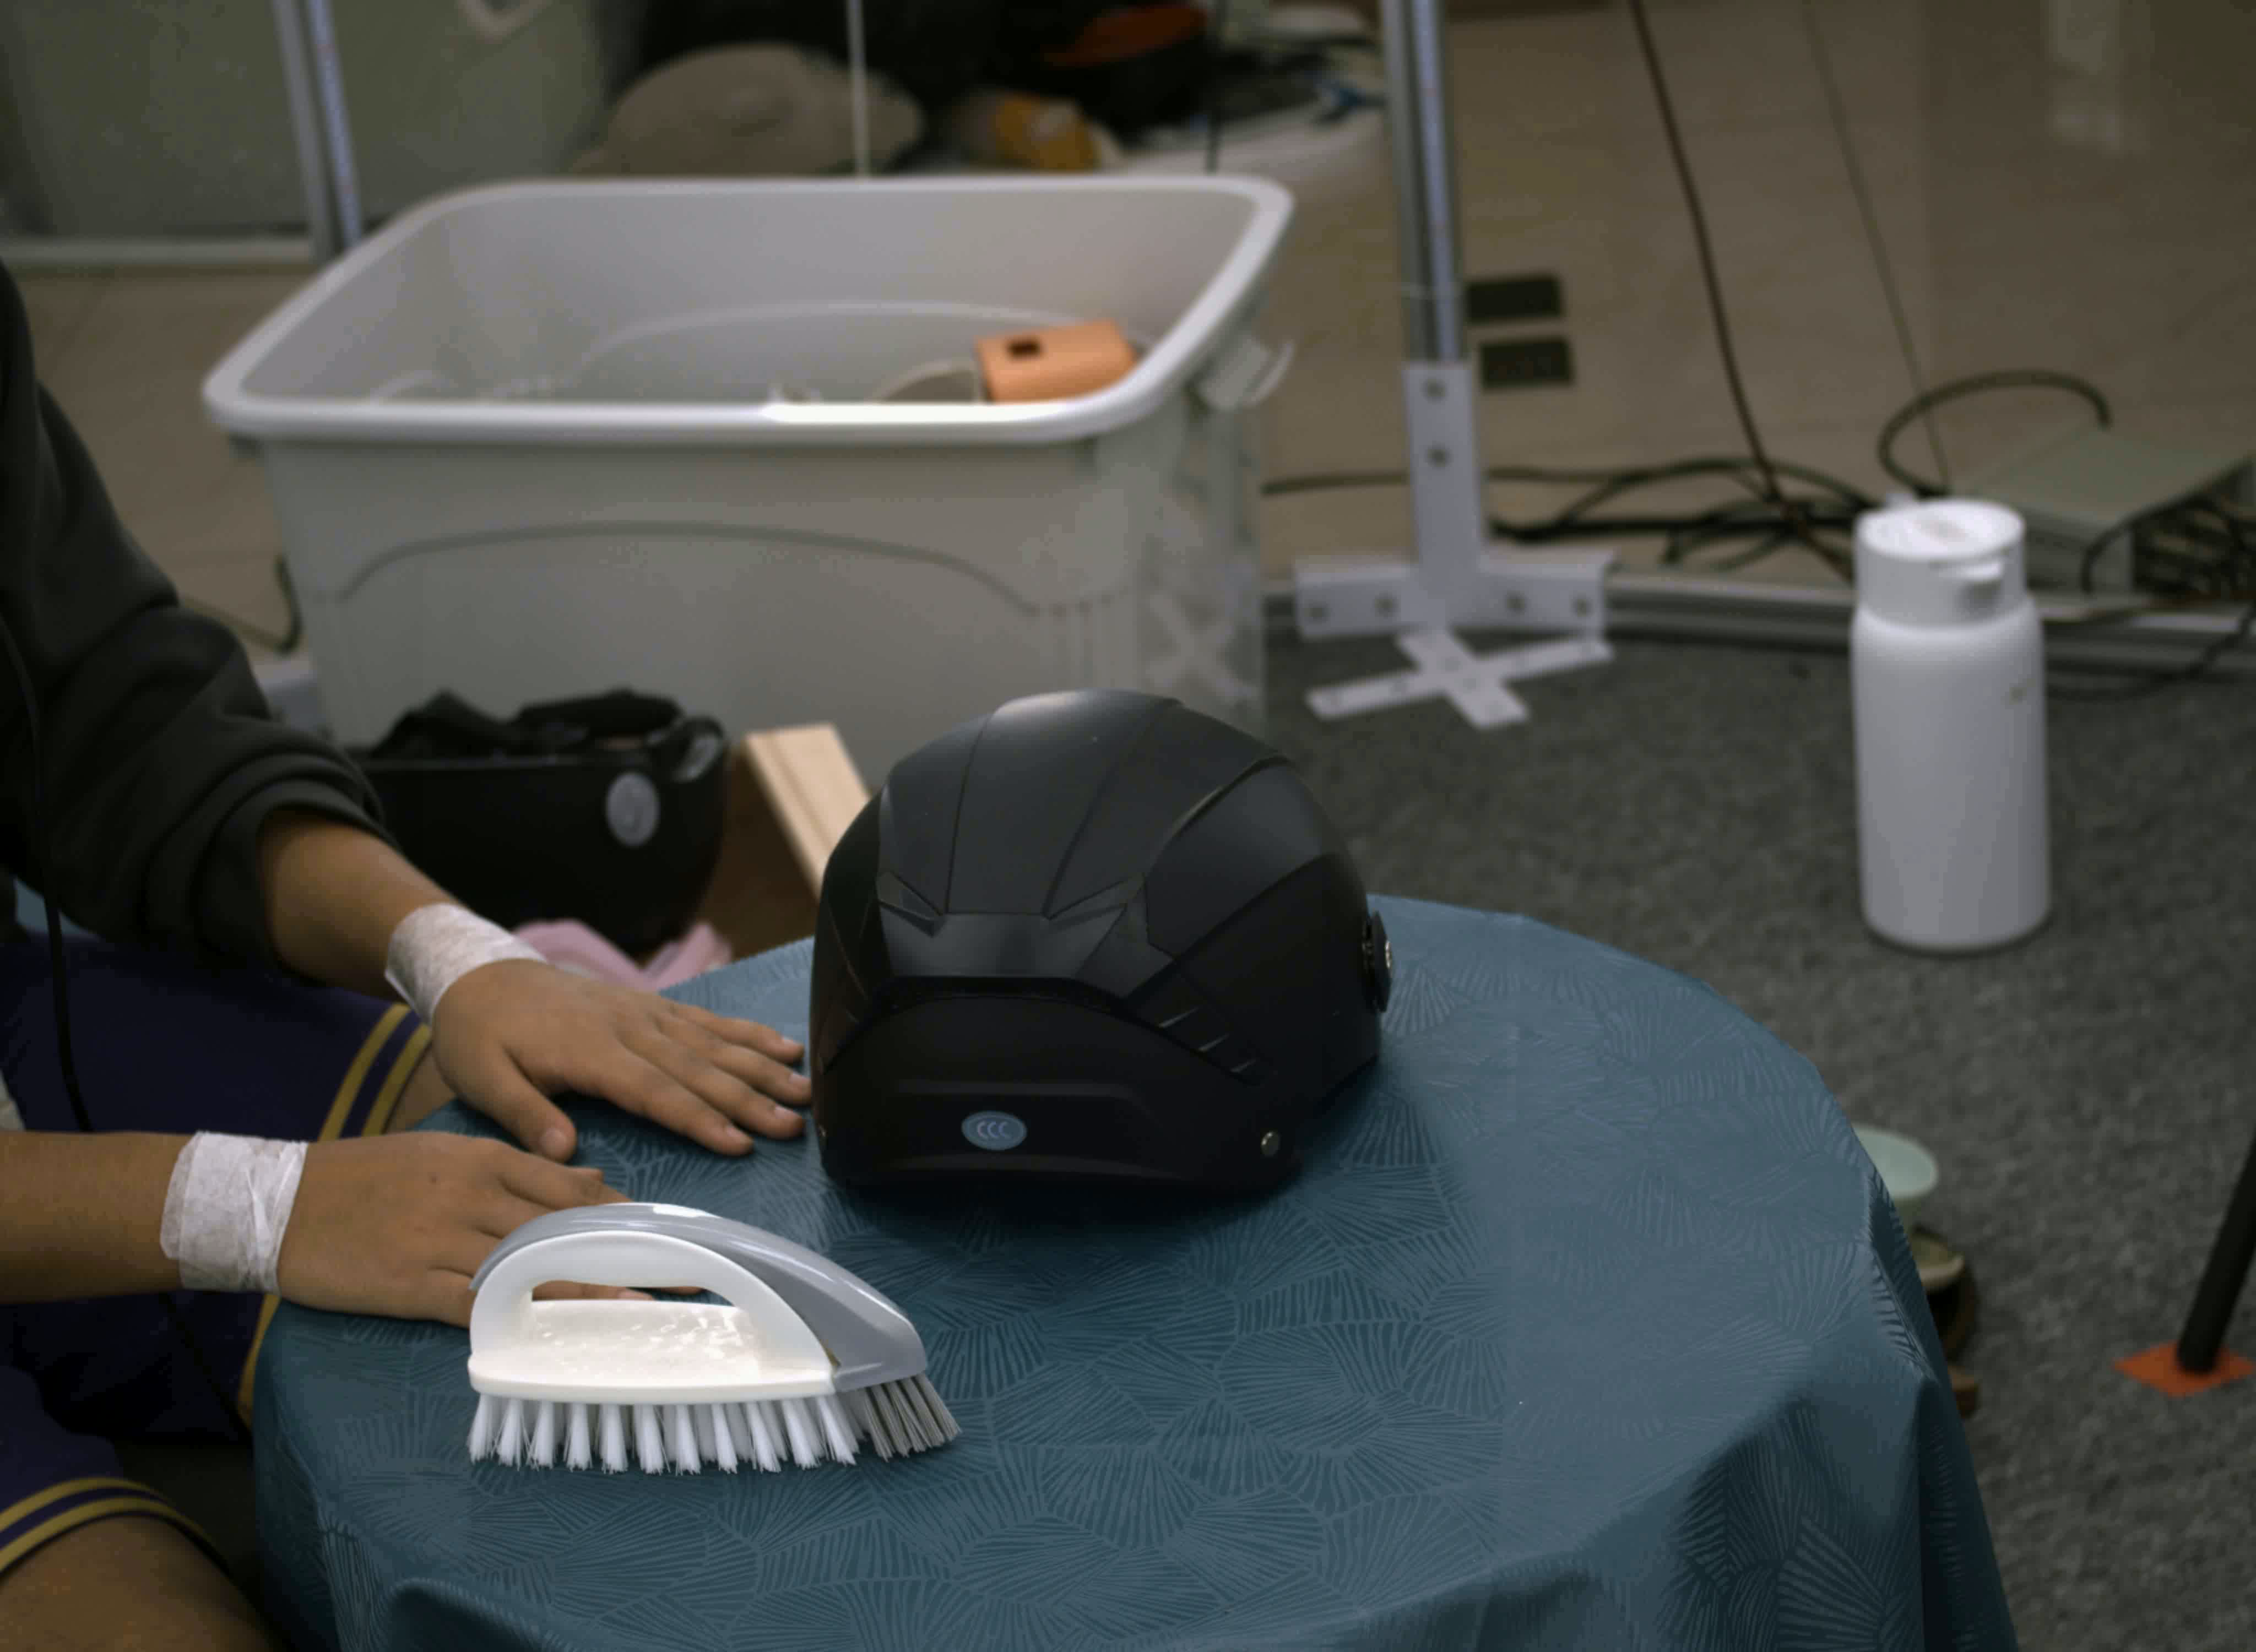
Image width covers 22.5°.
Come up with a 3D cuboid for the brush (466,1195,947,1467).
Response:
[{"bbox_3d":[-0.151,0.174,1.999,0.175,0.096,0.060,3,29,15],"label":"brush"}]

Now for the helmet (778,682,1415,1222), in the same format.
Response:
[{"bbox_3d":[-0.015,0.033,2.188,0.246,0.175,0.272,2,31,16],"label":"helmet"}]
